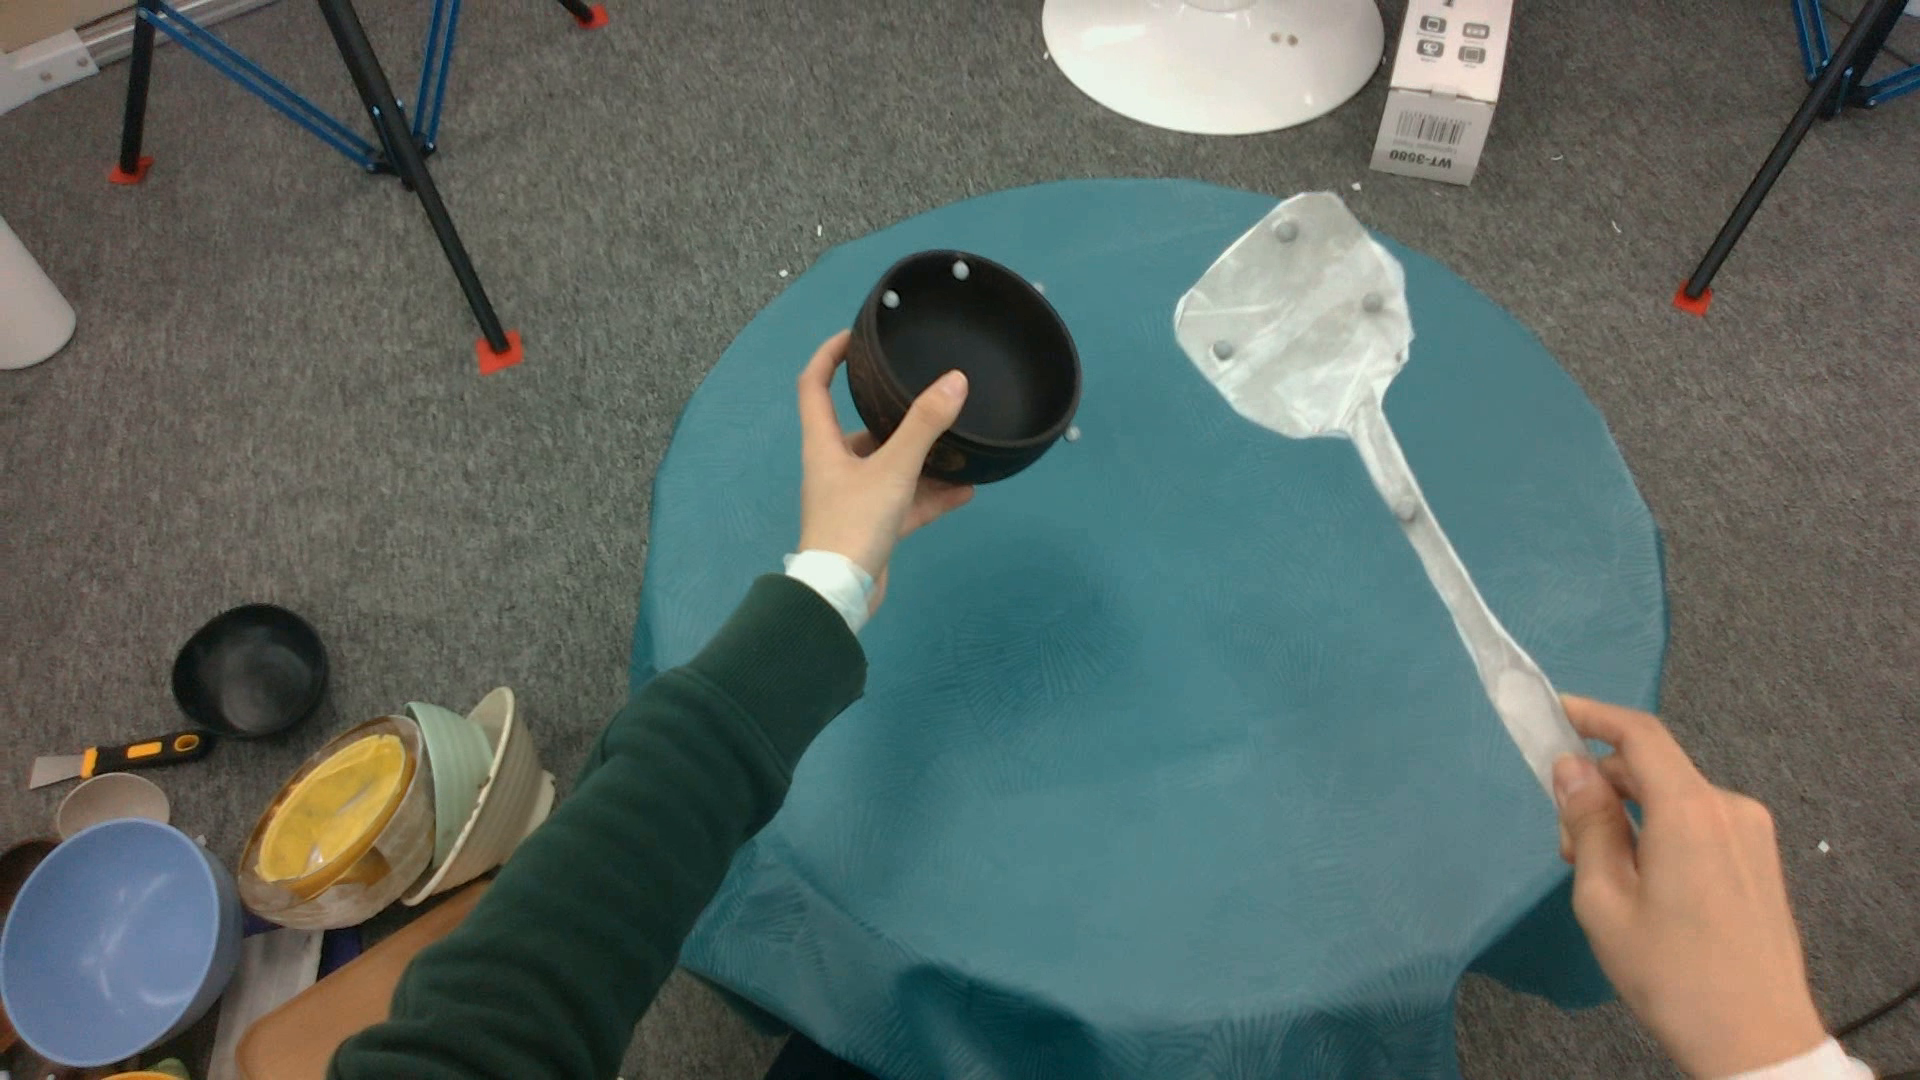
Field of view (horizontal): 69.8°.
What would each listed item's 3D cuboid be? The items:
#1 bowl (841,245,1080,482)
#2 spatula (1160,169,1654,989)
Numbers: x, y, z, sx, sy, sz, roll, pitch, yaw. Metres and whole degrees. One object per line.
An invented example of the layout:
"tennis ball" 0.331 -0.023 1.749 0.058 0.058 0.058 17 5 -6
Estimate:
"bowl" -0.006 -0.081 0.694 0.118 0.069 0.118 12 59 -22
"spatula" 0.180 -0.002 0.555 0.098 0.045 0.366 -38 50 28
